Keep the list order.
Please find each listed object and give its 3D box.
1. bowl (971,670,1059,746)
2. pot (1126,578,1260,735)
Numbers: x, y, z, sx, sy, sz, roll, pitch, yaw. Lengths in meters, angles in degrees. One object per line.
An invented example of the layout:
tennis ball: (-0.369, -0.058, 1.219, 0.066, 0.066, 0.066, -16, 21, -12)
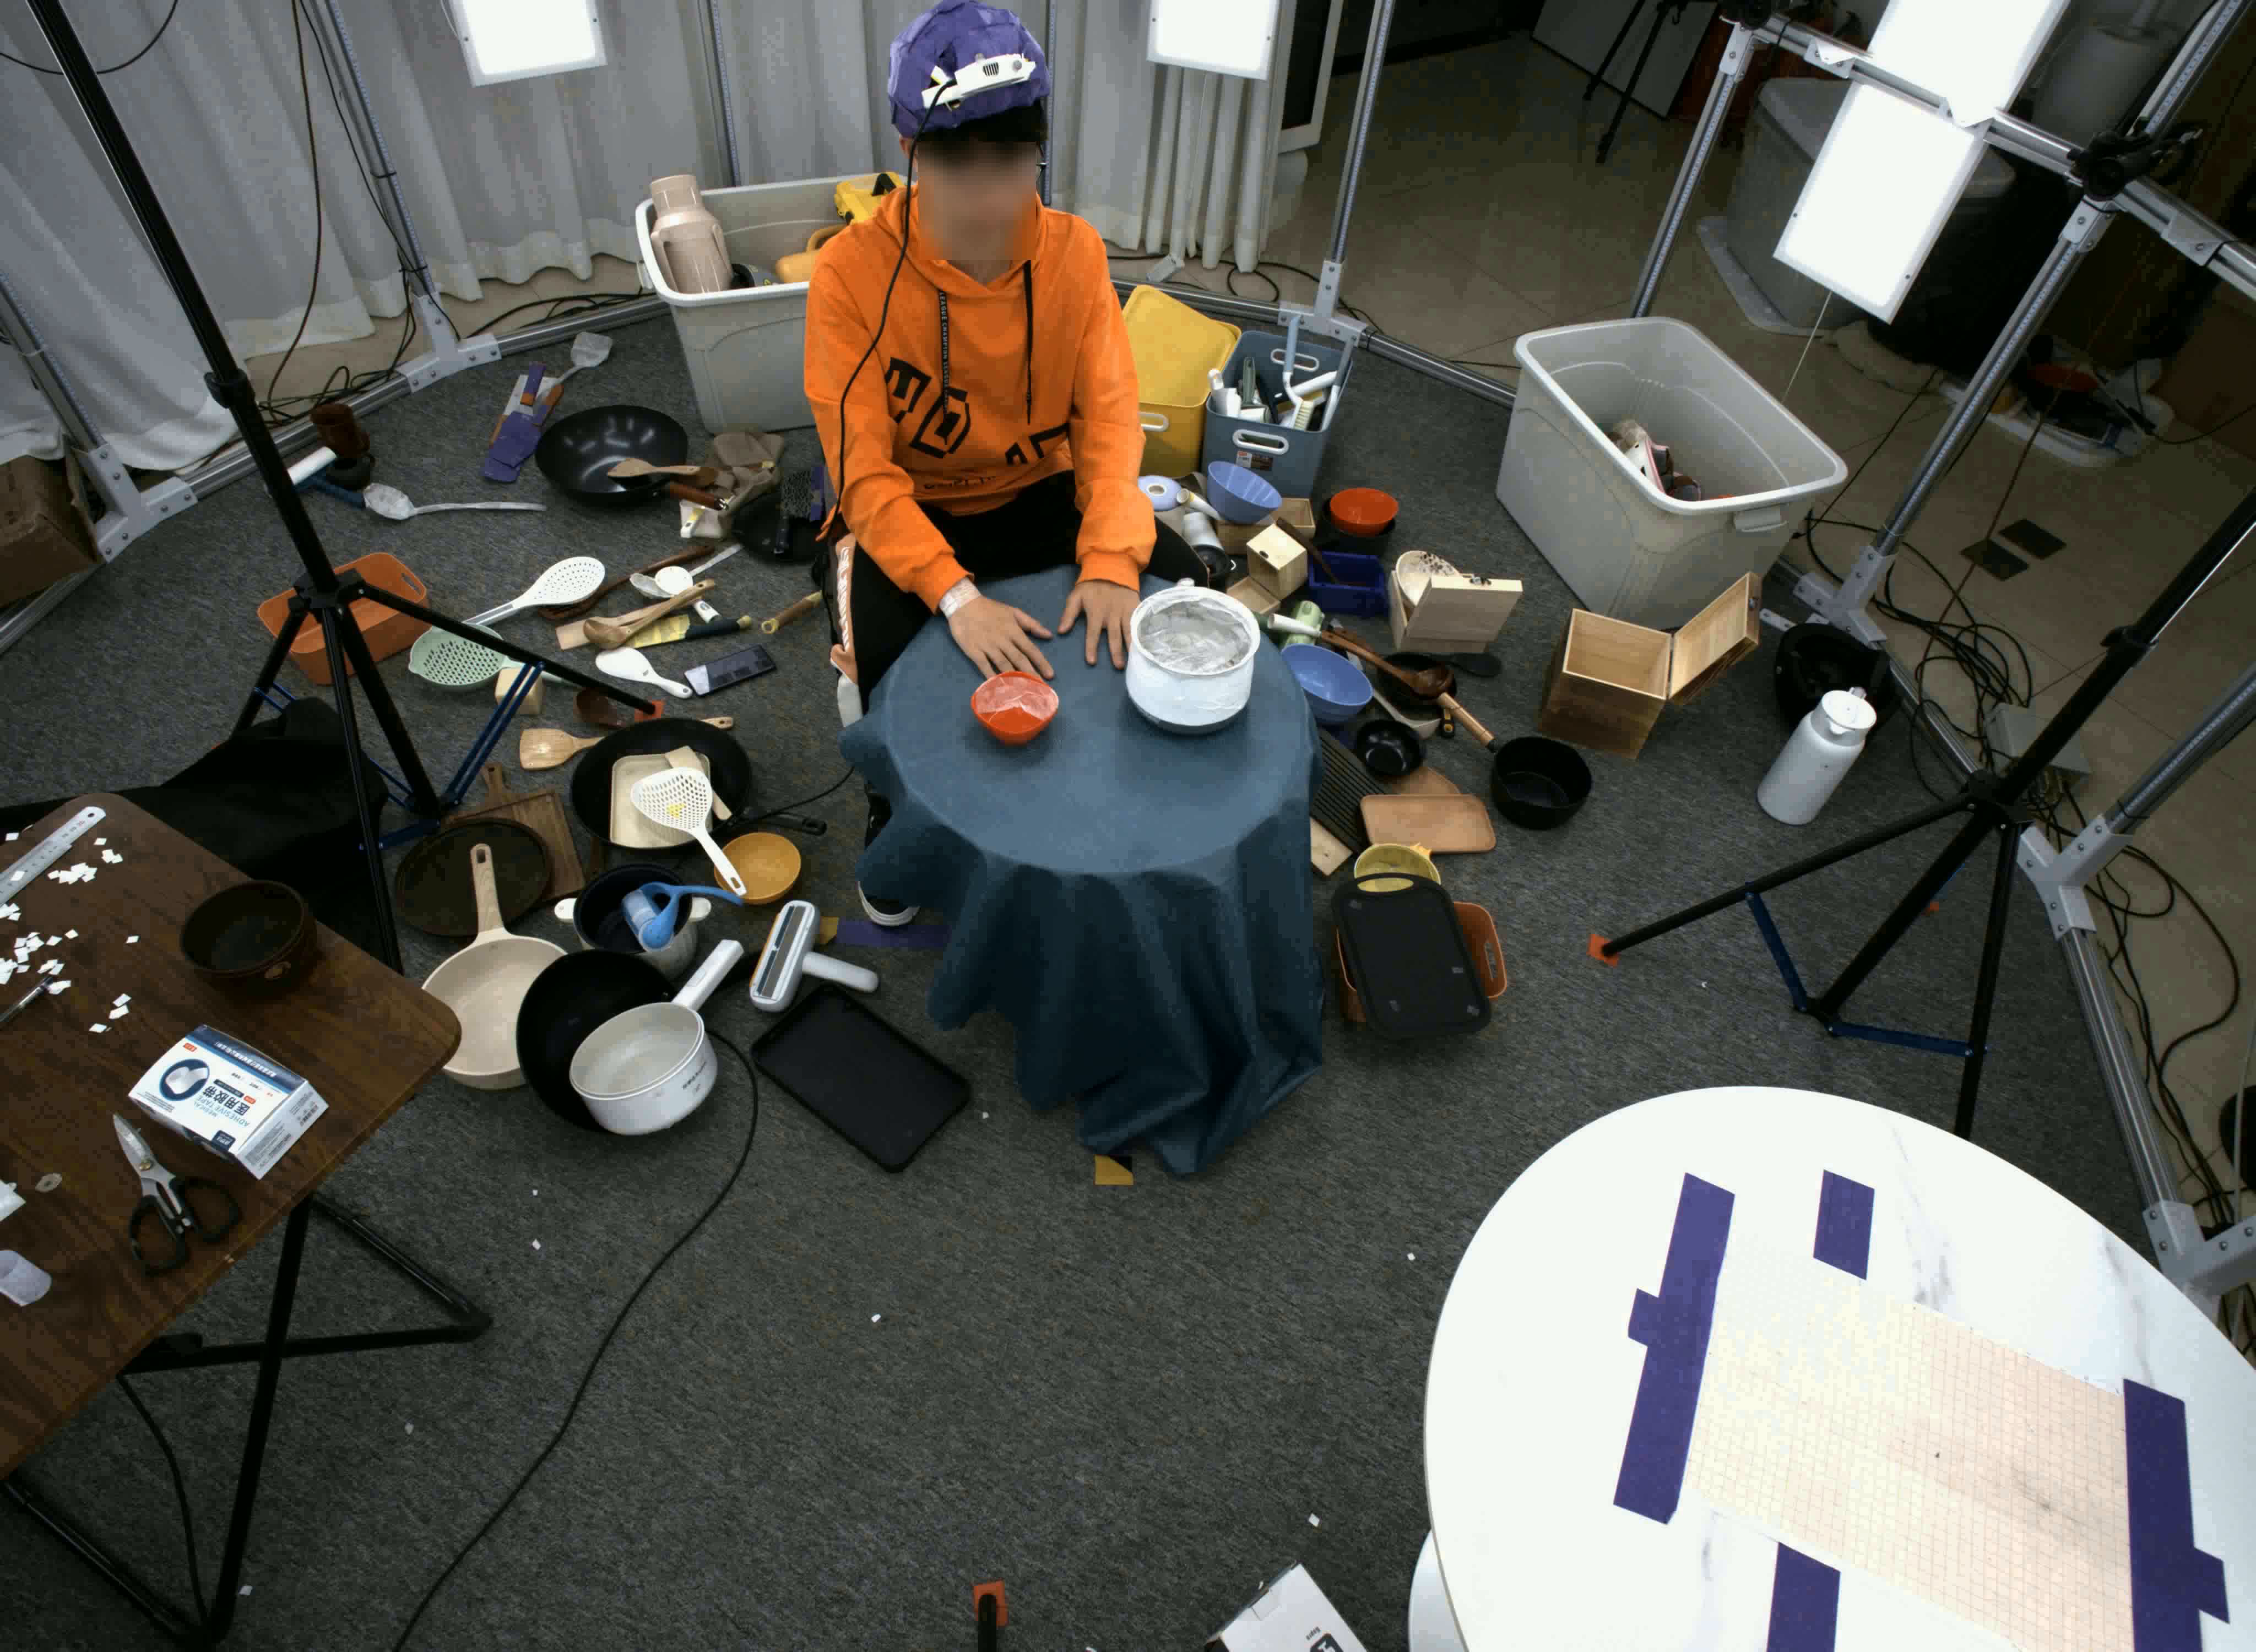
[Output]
bowl: (-0.155, -0.155, 1.760, 0.119, 0.050, 0.122, 2, 50, -2)
pot: (0.084, -0.247, 1.800, 0.178, 0.133, 0.239, -2, 50, -6)
